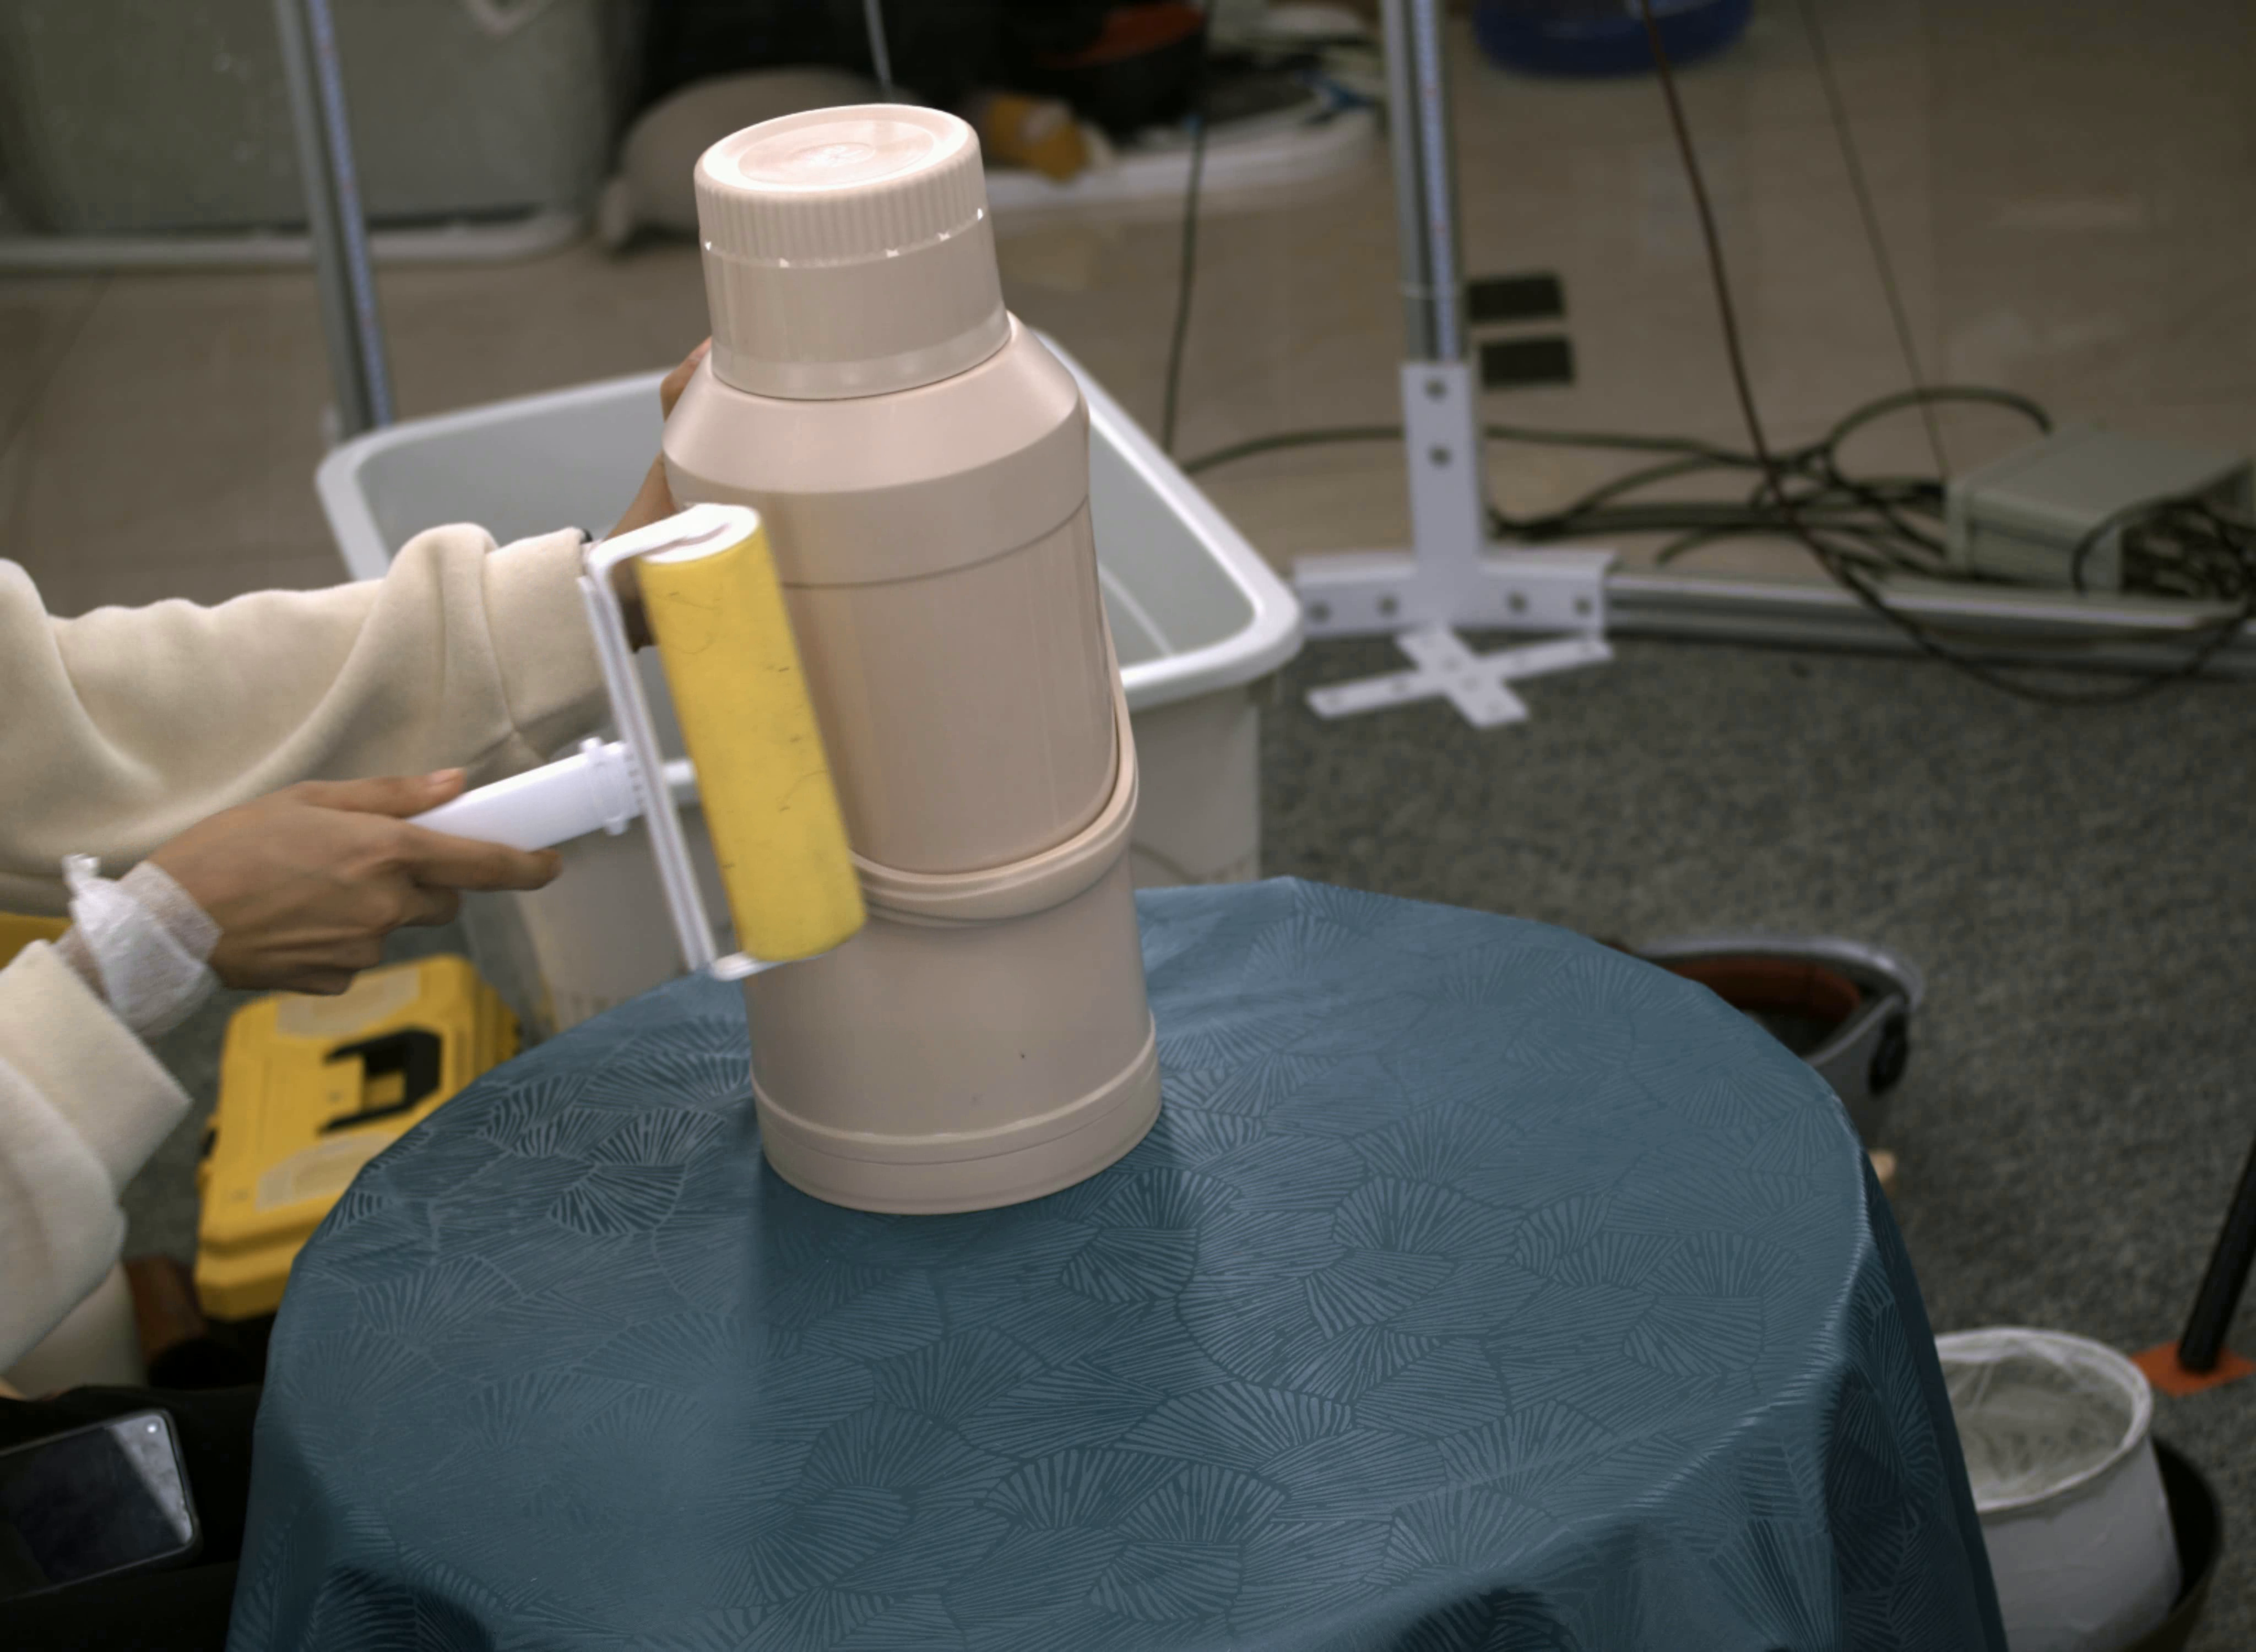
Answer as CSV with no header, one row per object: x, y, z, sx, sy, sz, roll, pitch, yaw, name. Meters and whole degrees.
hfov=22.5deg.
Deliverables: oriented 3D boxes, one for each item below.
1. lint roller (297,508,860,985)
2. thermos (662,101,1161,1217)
-0.199,-0.002,1.993,0.191,0.177,0.051,-26,29,-22,lint roller
-0.092,-0.068,2.139,0.174,0.413,0.205,-23,30,-29,thermos
